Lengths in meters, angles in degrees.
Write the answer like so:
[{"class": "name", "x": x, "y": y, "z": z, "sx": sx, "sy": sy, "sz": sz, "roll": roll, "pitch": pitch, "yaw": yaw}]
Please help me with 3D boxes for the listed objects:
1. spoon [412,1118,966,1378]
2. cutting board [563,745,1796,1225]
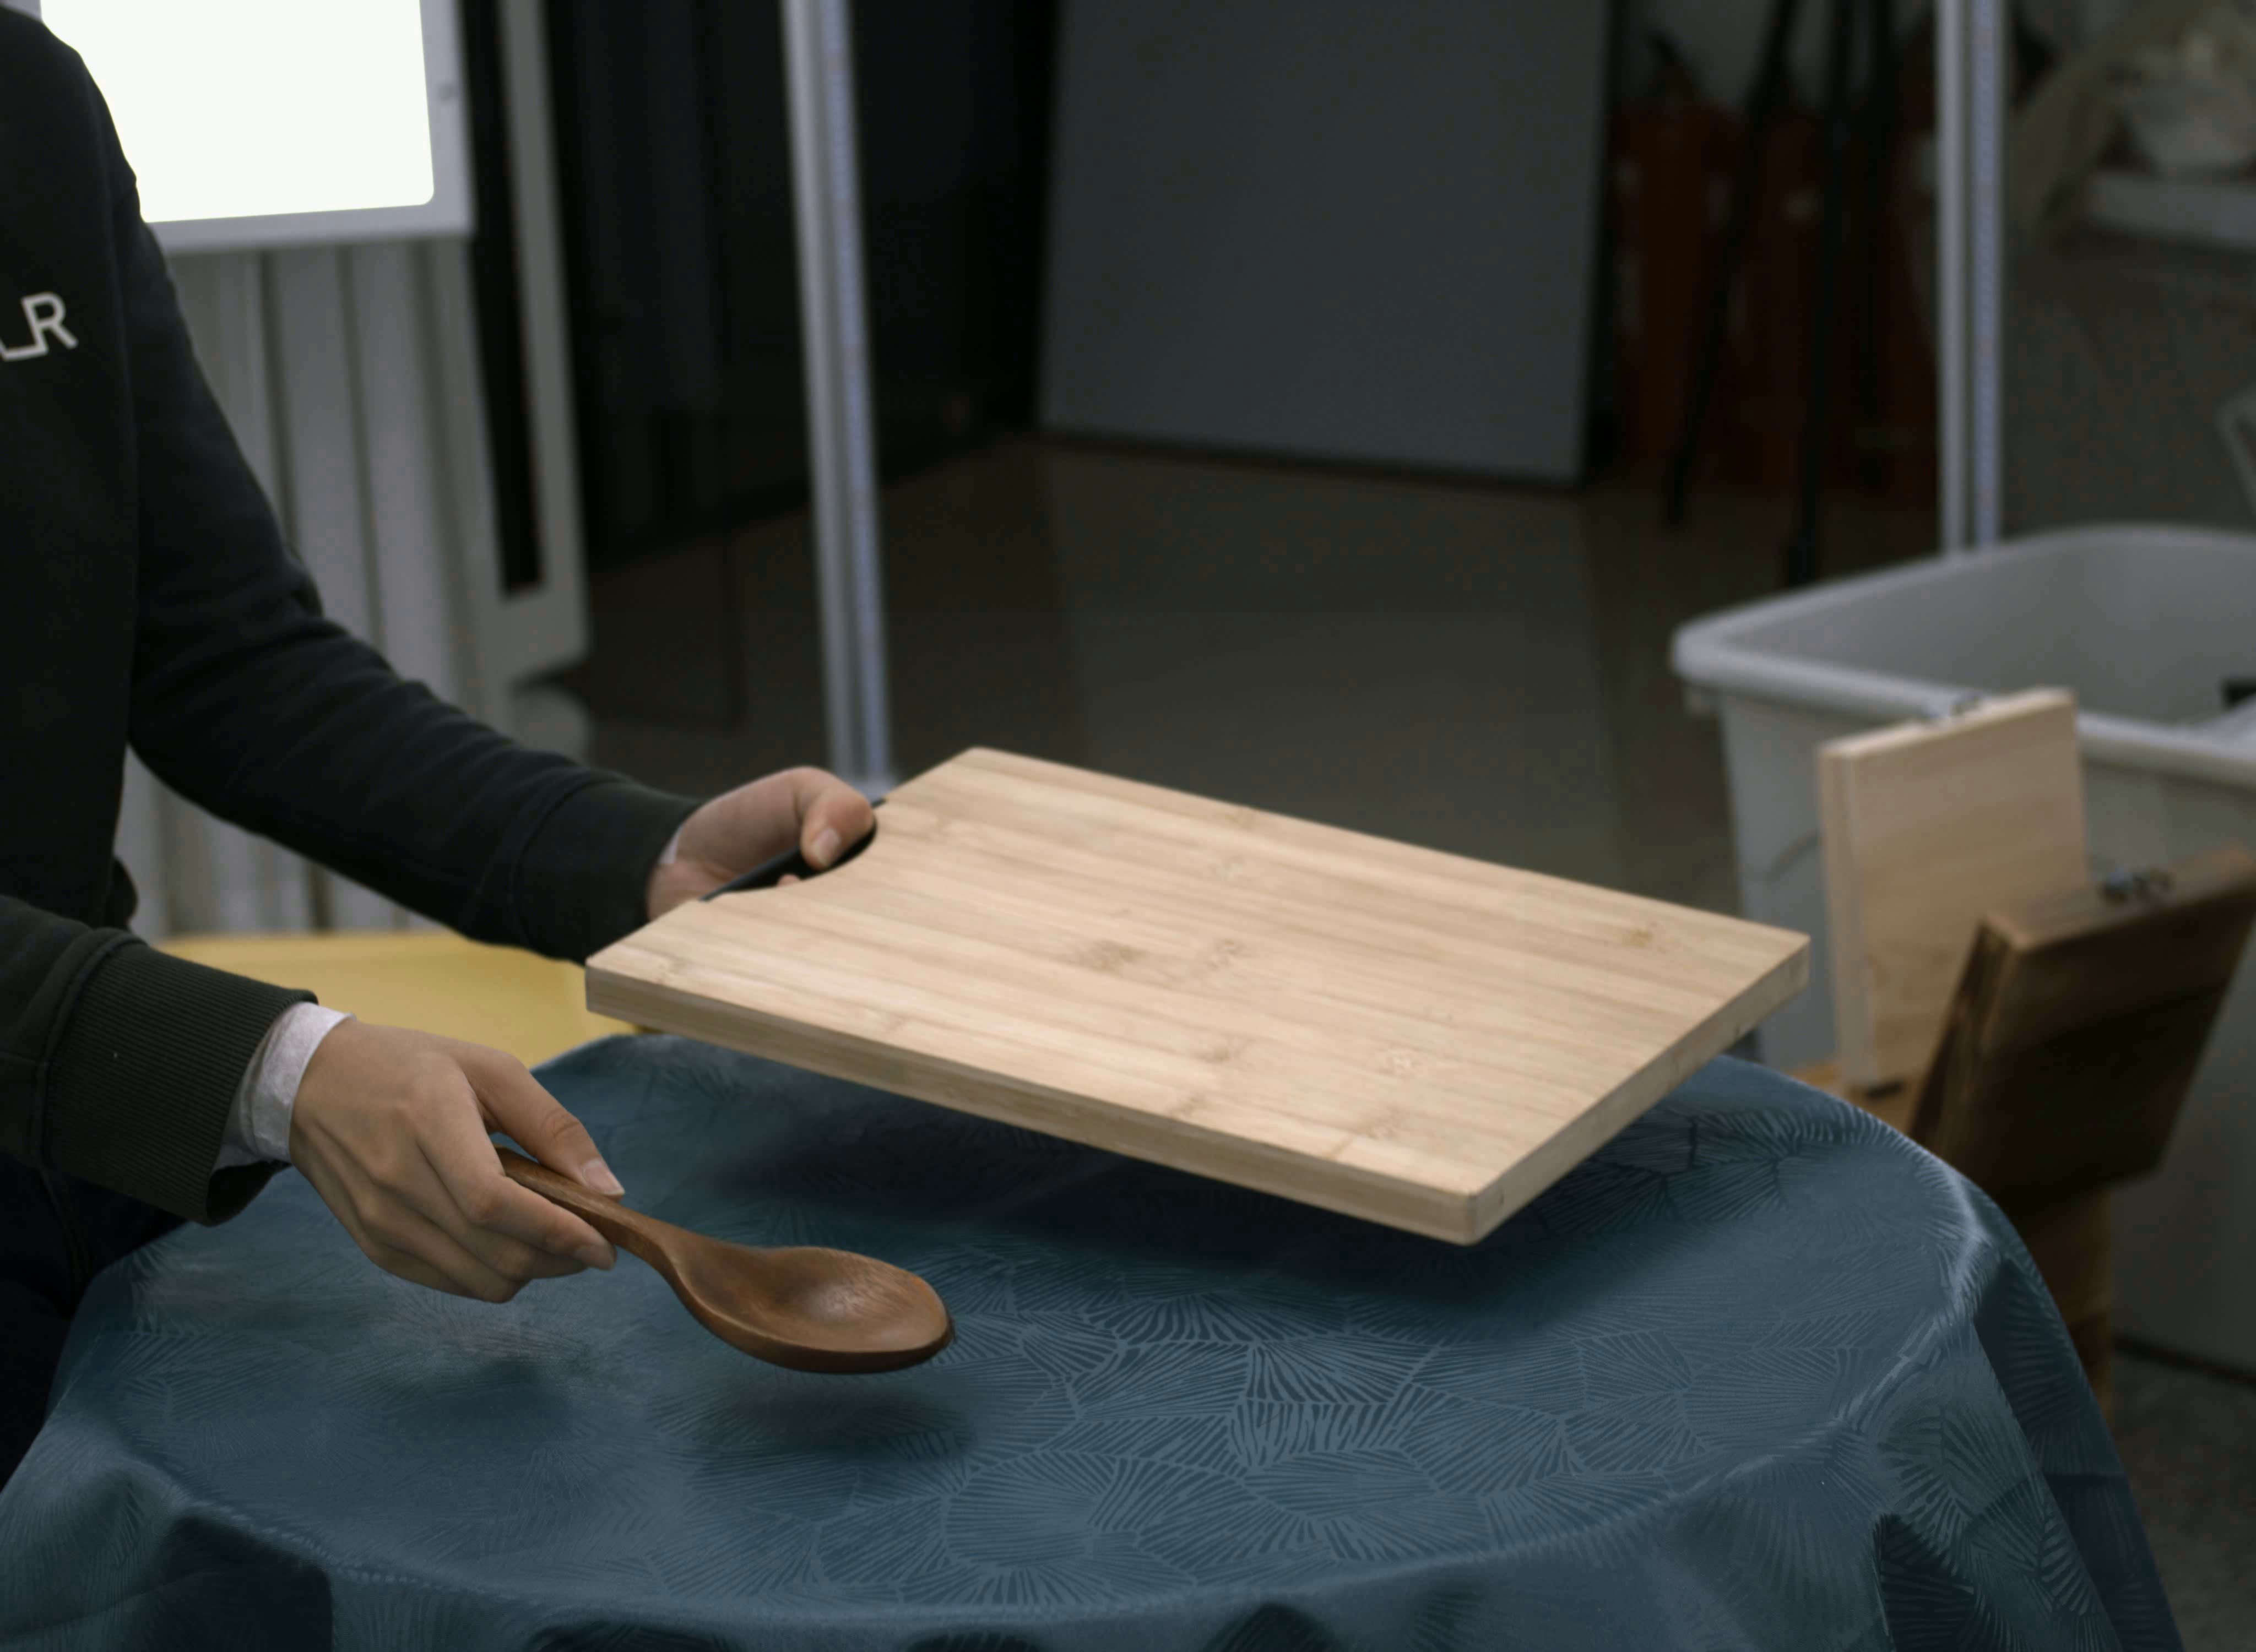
[{"class": "spoon", "x": -0.137, "y": 0.126, "z": 1.620, "sx": 0.217, "sy": 0.017, "sz": 0.074, "roll": 20, "pitch": 25, "yaw": 38}, {"class": "cutting board", "x": 0.018, "y": 0.047, "z": 1.799, "sx": 0.350, "sy": 0.024, "sz": 0.247, "roll": 12, "pitch": 24, "yaw": 30}]
